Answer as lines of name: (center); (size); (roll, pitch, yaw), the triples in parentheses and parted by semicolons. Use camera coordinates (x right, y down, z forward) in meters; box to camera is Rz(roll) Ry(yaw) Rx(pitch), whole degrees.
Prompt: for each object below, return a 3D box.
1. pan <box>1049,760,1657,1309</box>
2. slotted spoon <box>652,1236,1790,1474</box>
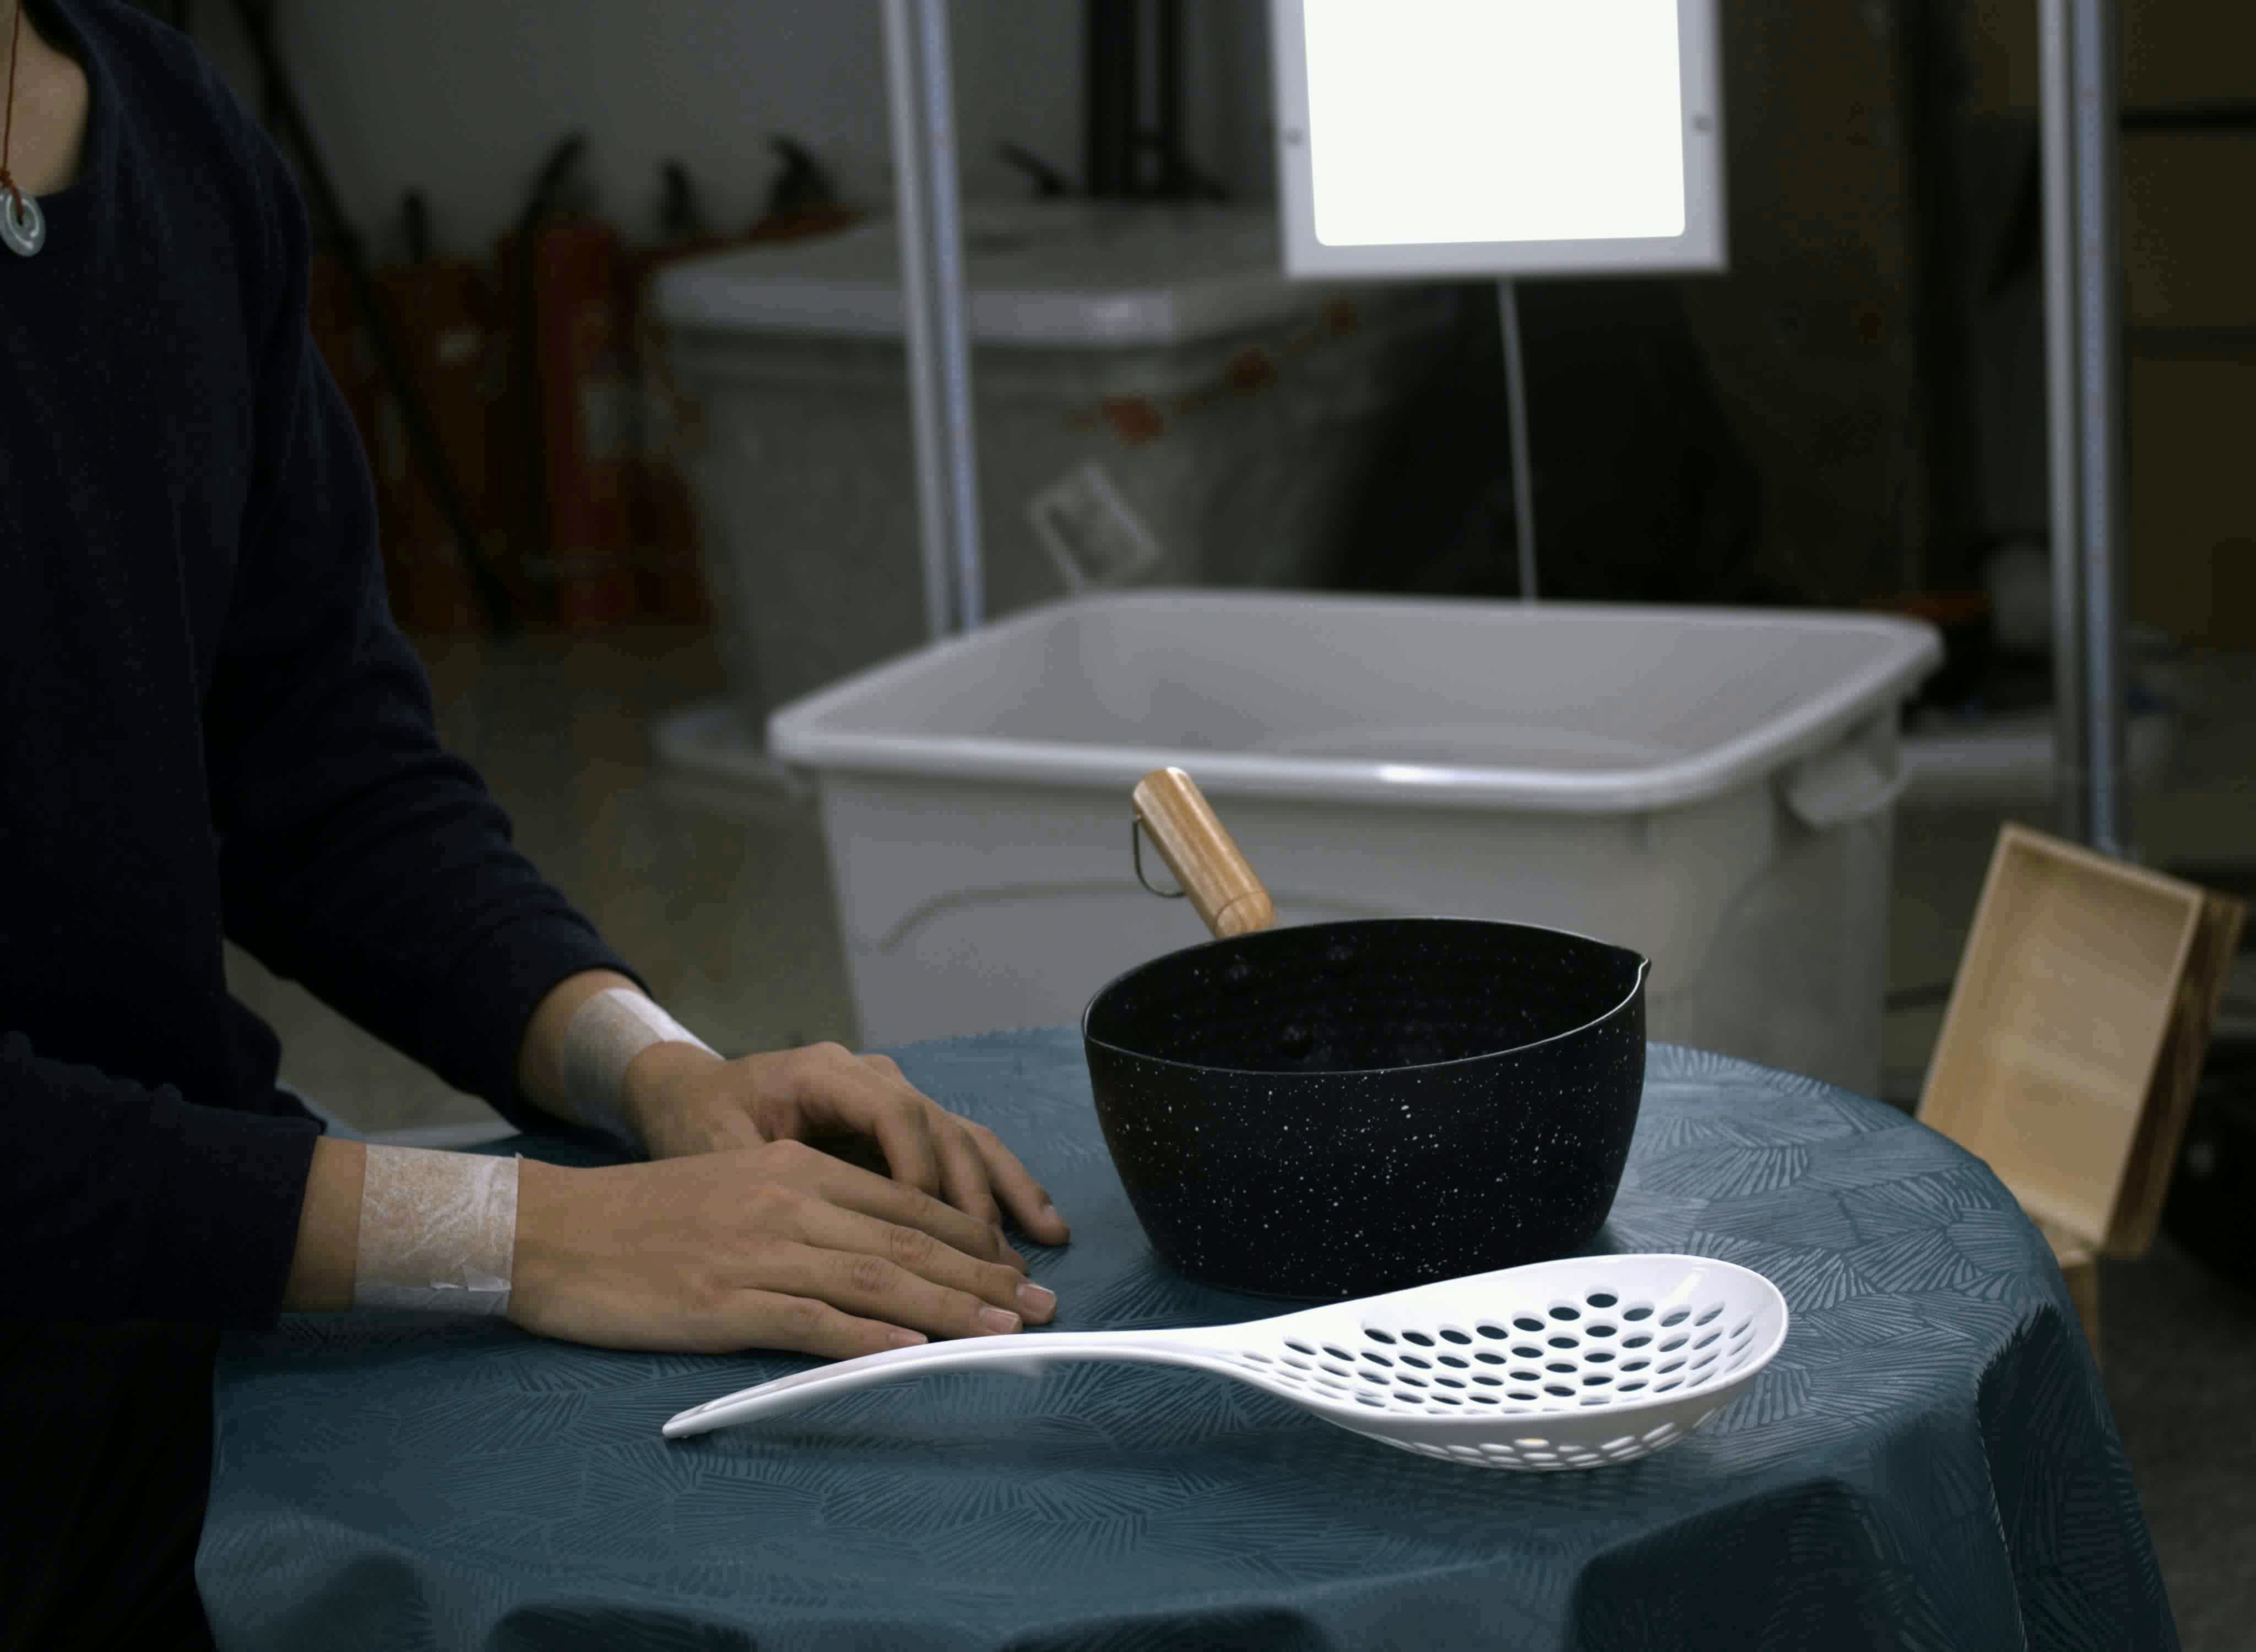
pan: (0.058, 0.066, 1.893); (0.205, 0.108, 0.346); (-10, 16, -13)
slotted spoon: (0.025, 0.165, 1.642); (0.351, 0.050, 0.135); (0, 17, 15)
